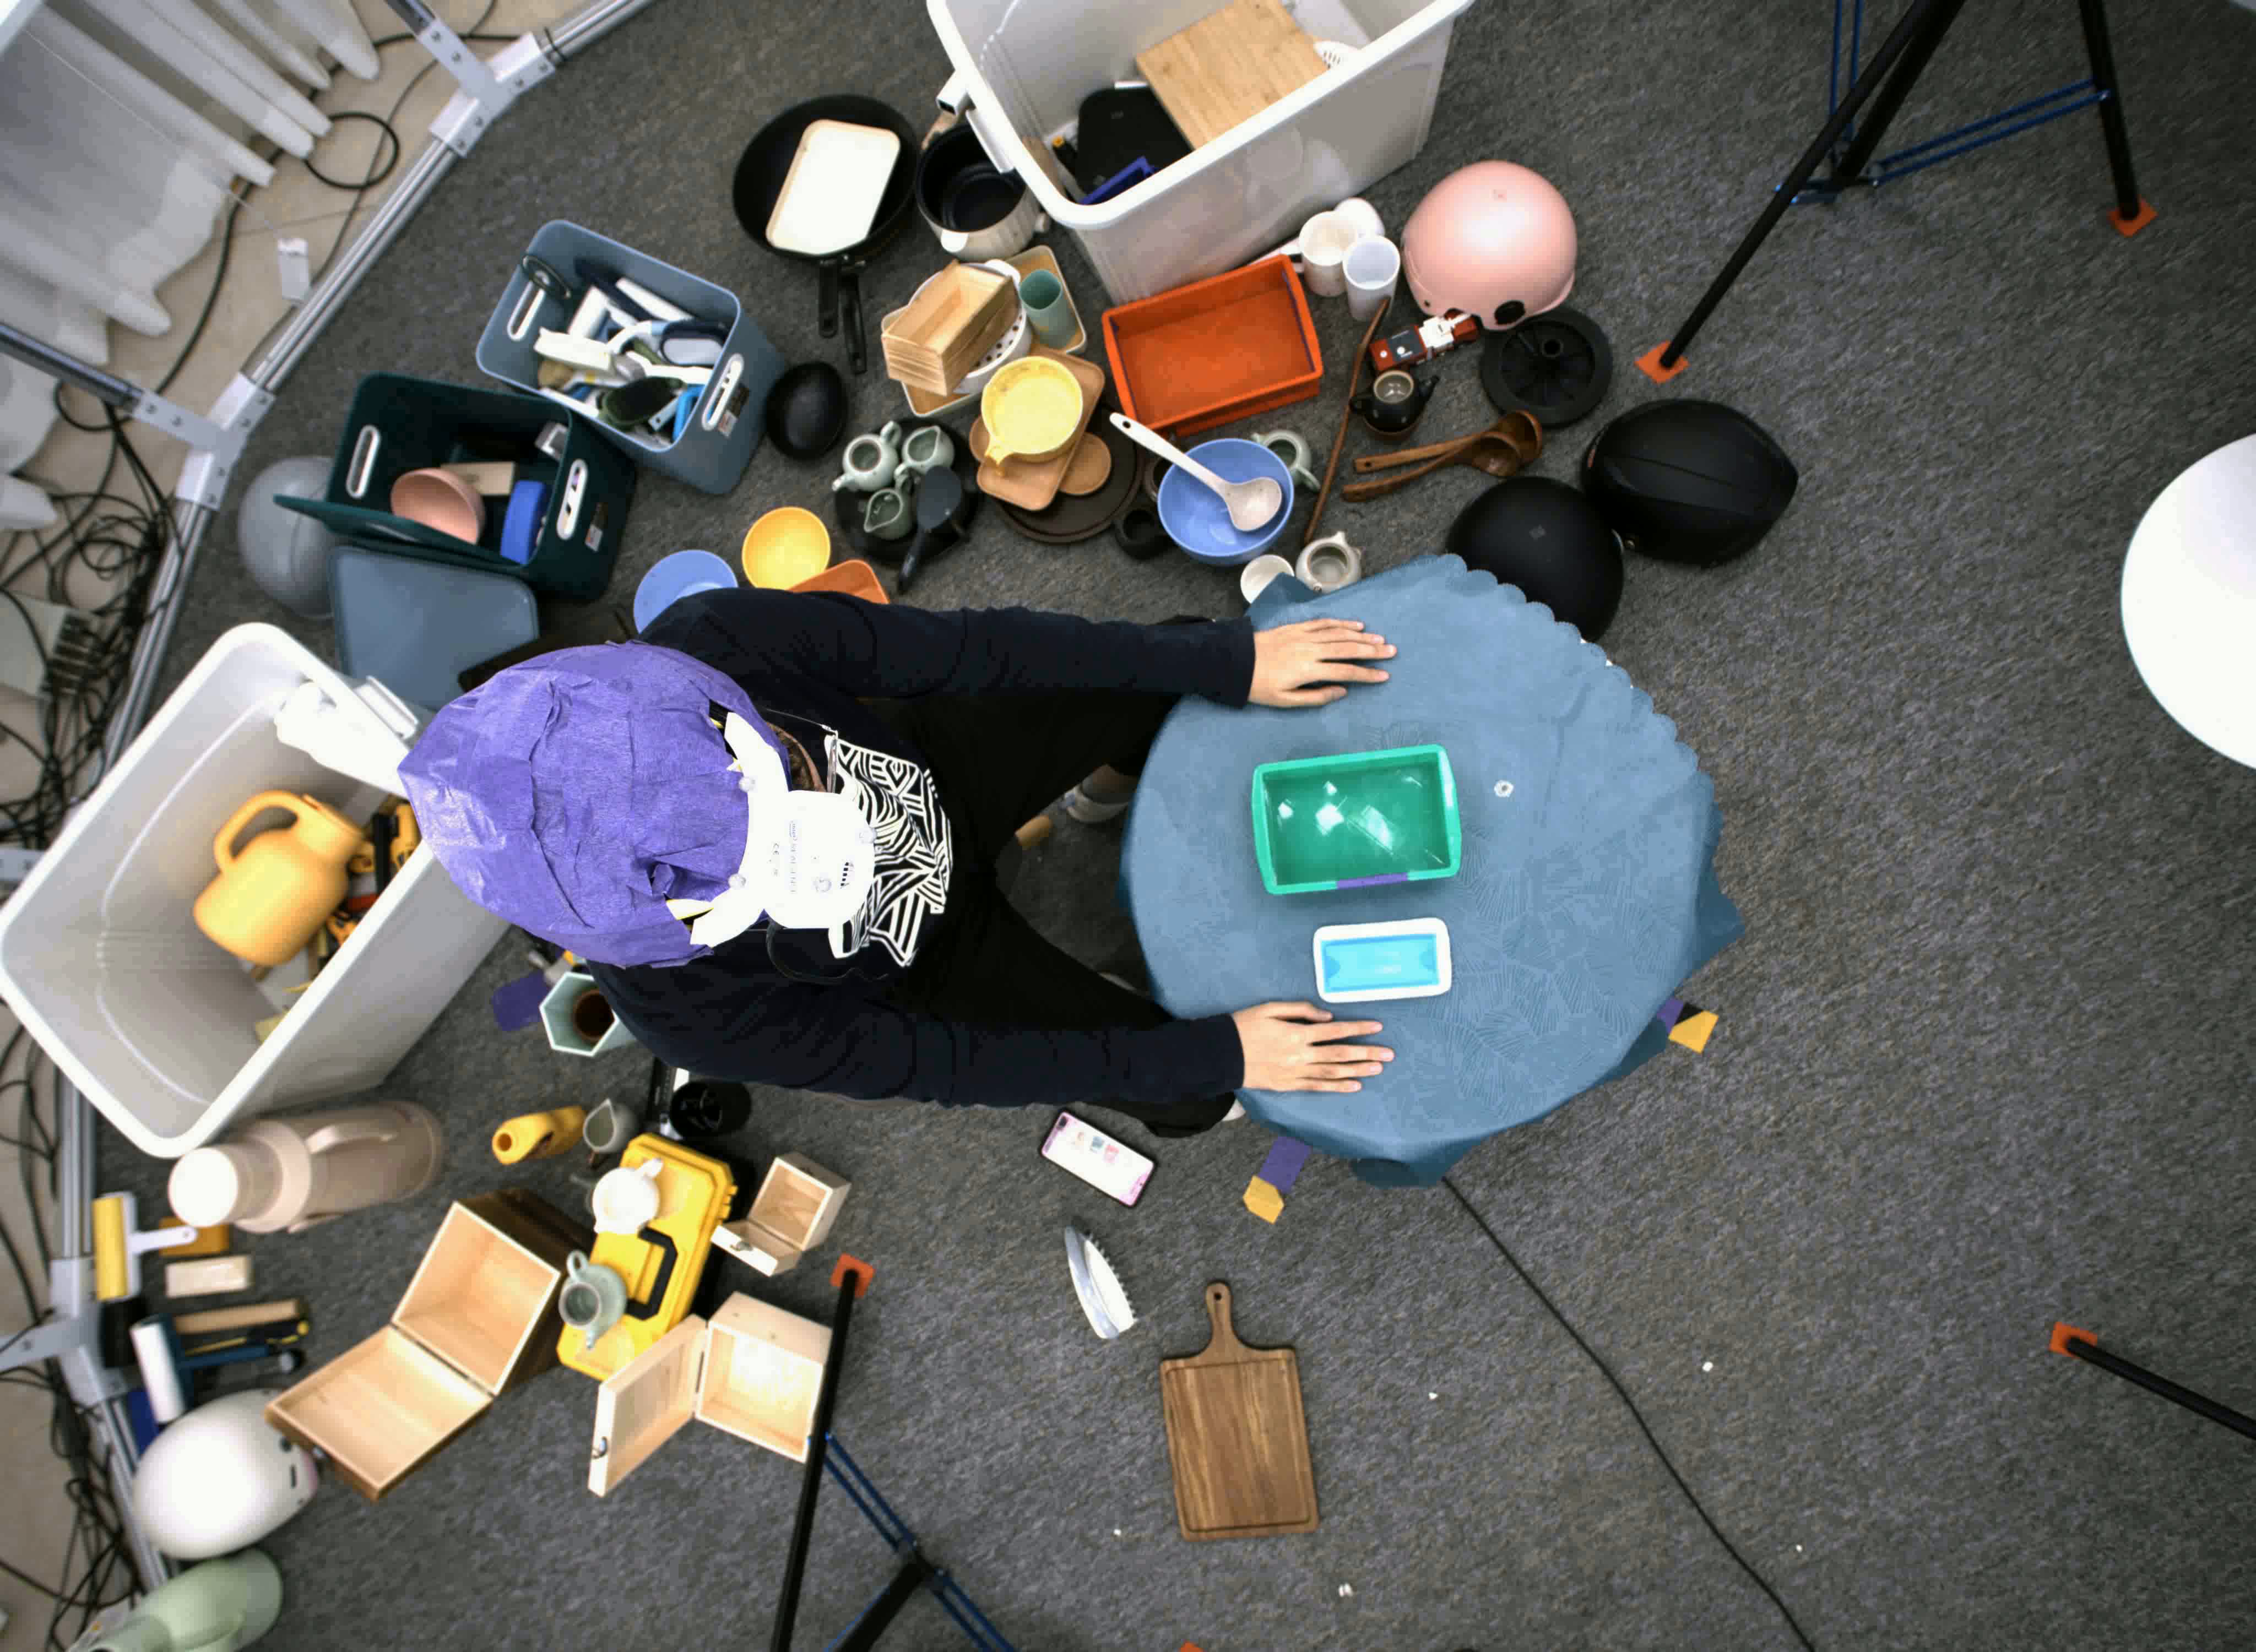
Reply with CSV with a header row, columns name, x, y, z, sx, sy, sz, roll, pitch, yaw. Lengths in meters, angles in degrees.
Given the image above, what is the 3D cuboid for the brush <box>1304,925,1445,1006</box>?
name,x,y,z,sx,sy,sz,roll,pitch,yaw
brush,0.255,0.140,1.424,0.144,0.056,0.083,-4,84,5

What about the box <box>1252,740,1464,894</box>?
name,x,y,z,sx,sy,sz,roll,pitch,yaw
box,0.239,-0.008,1.437,0.211,0.065,0.138,-8,88,9
